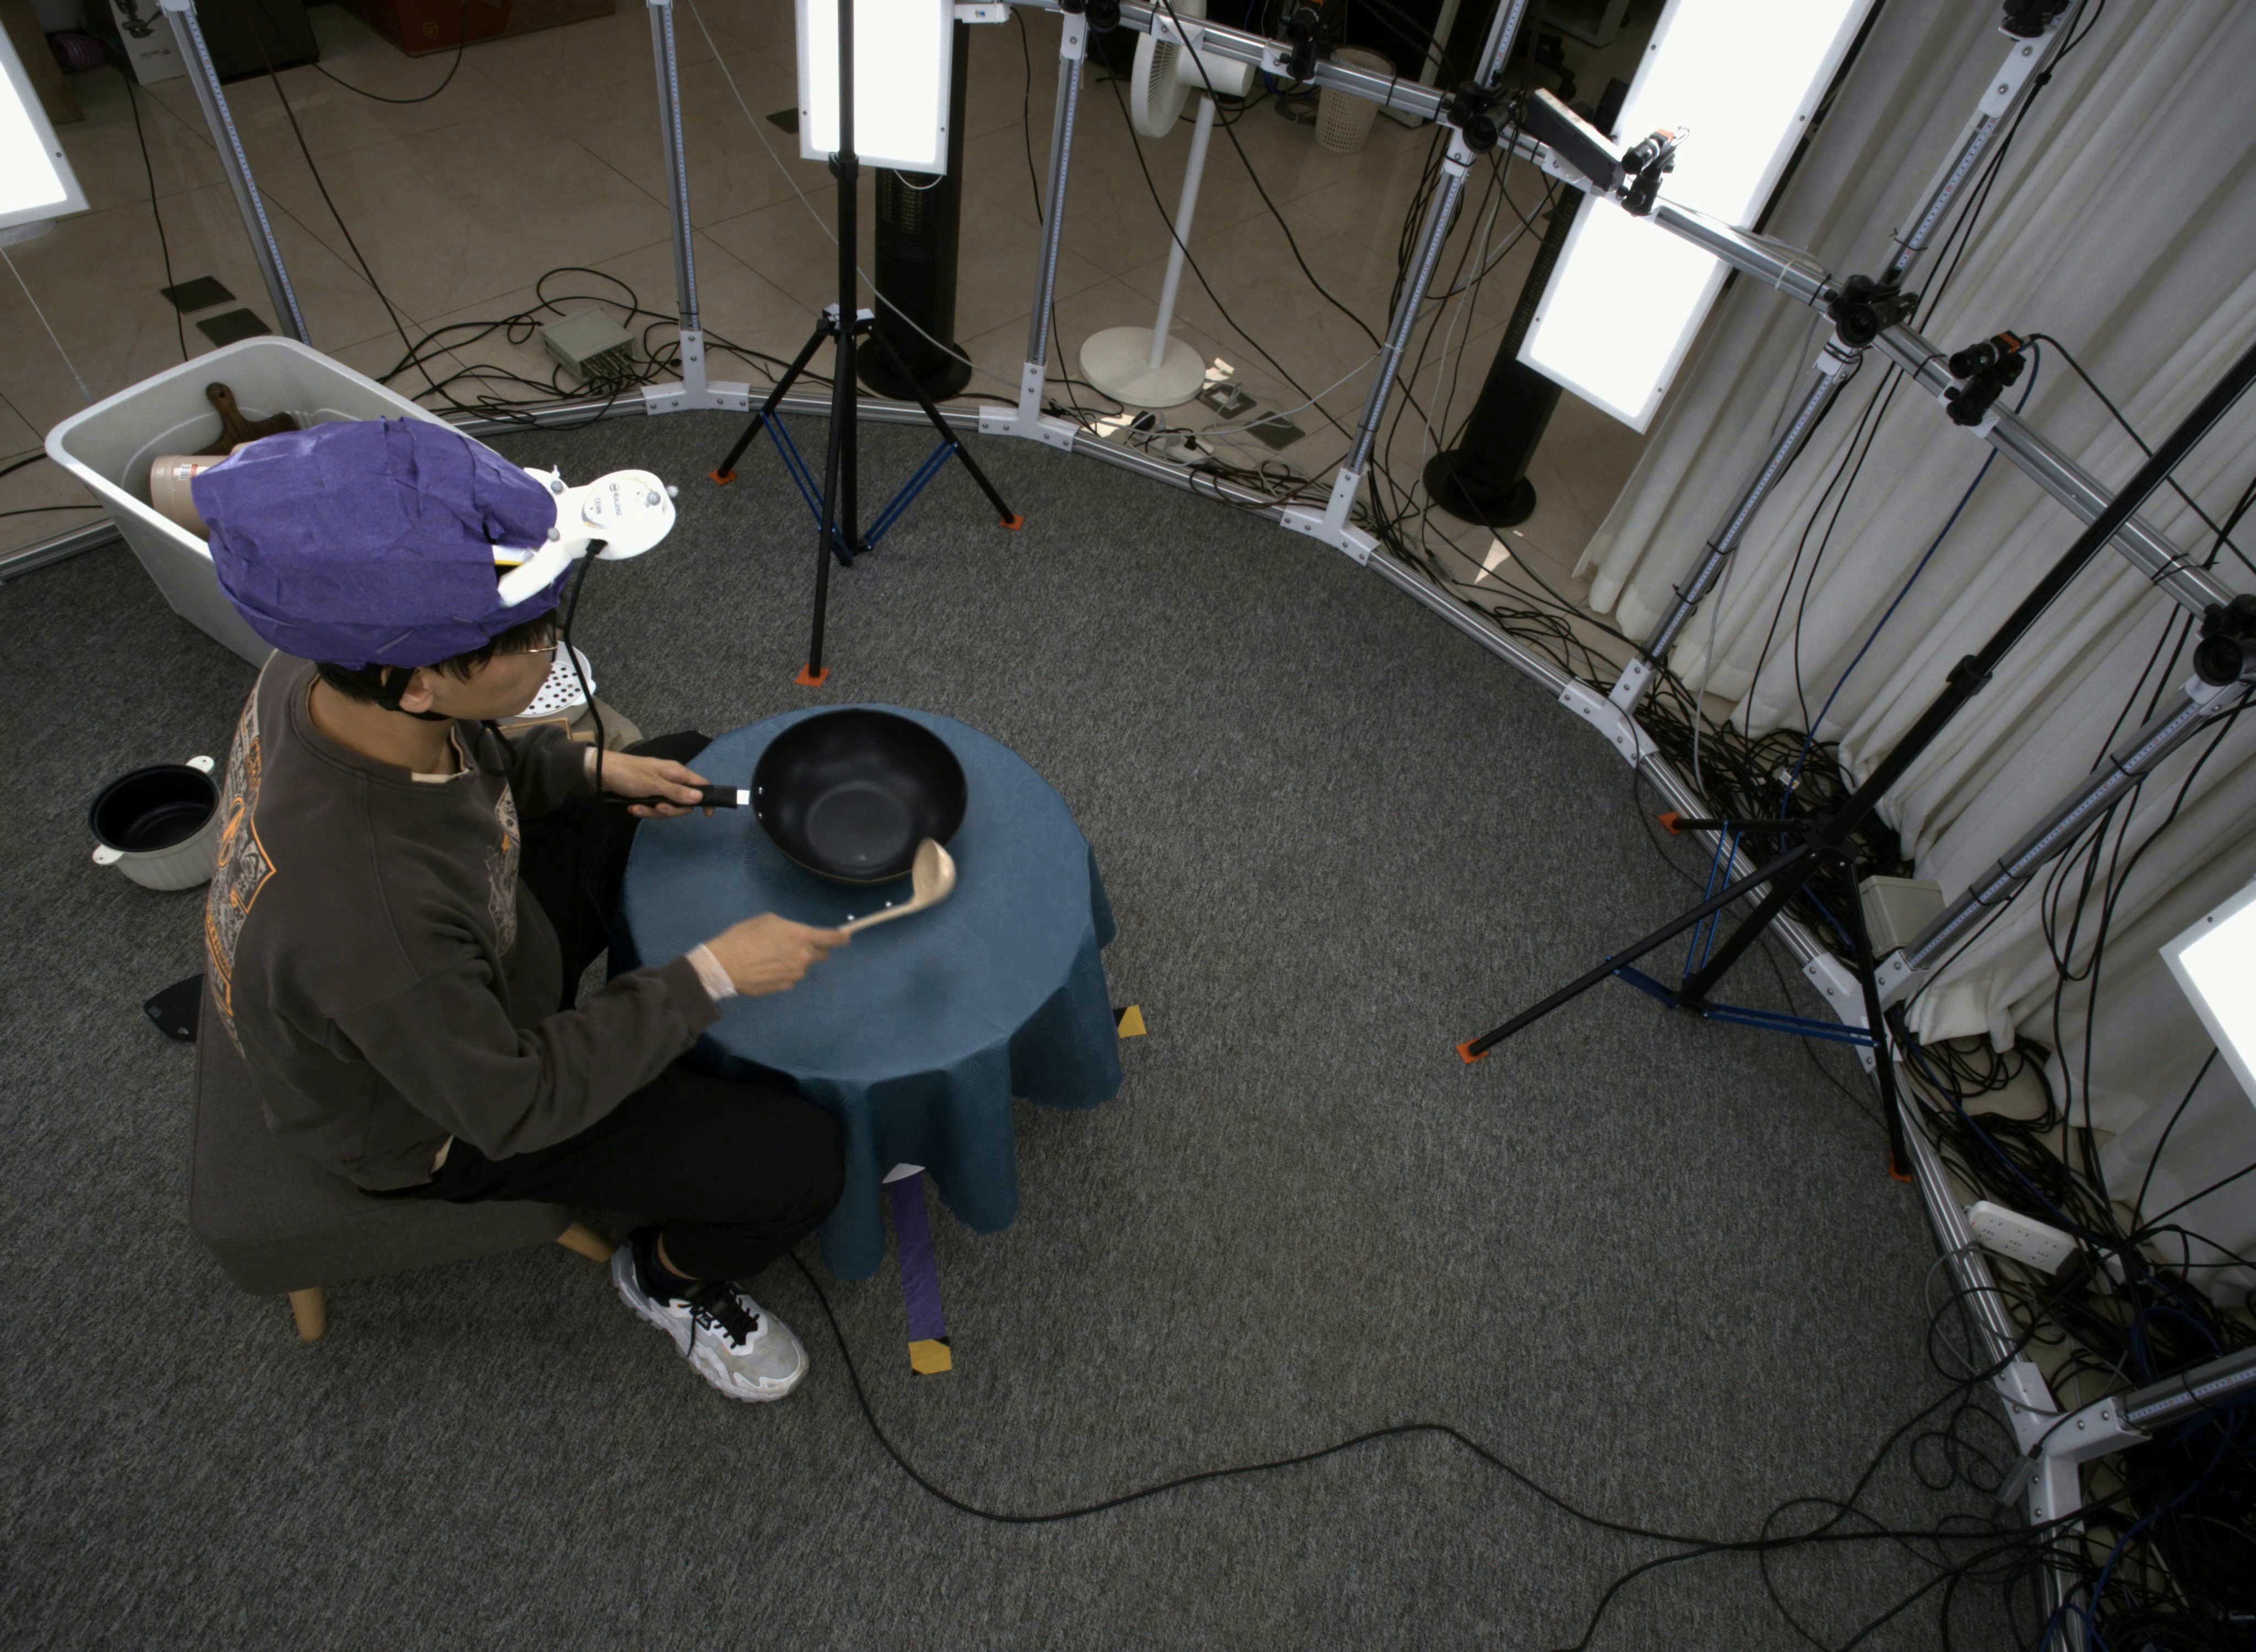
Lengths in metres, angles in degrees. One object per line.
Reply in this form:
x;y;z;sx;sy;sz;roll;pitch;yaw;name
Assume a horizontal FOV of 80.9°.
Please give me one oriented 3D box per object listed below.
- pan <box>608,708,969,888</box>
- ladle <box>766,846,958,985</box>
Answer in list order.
-0.440;-0.021;1.694;0.464;0.088;0.282;-2;55;-15;pan
-0.314;0.097;1.507;0.256;0.075;0.069;-25;27;-31;ladle
